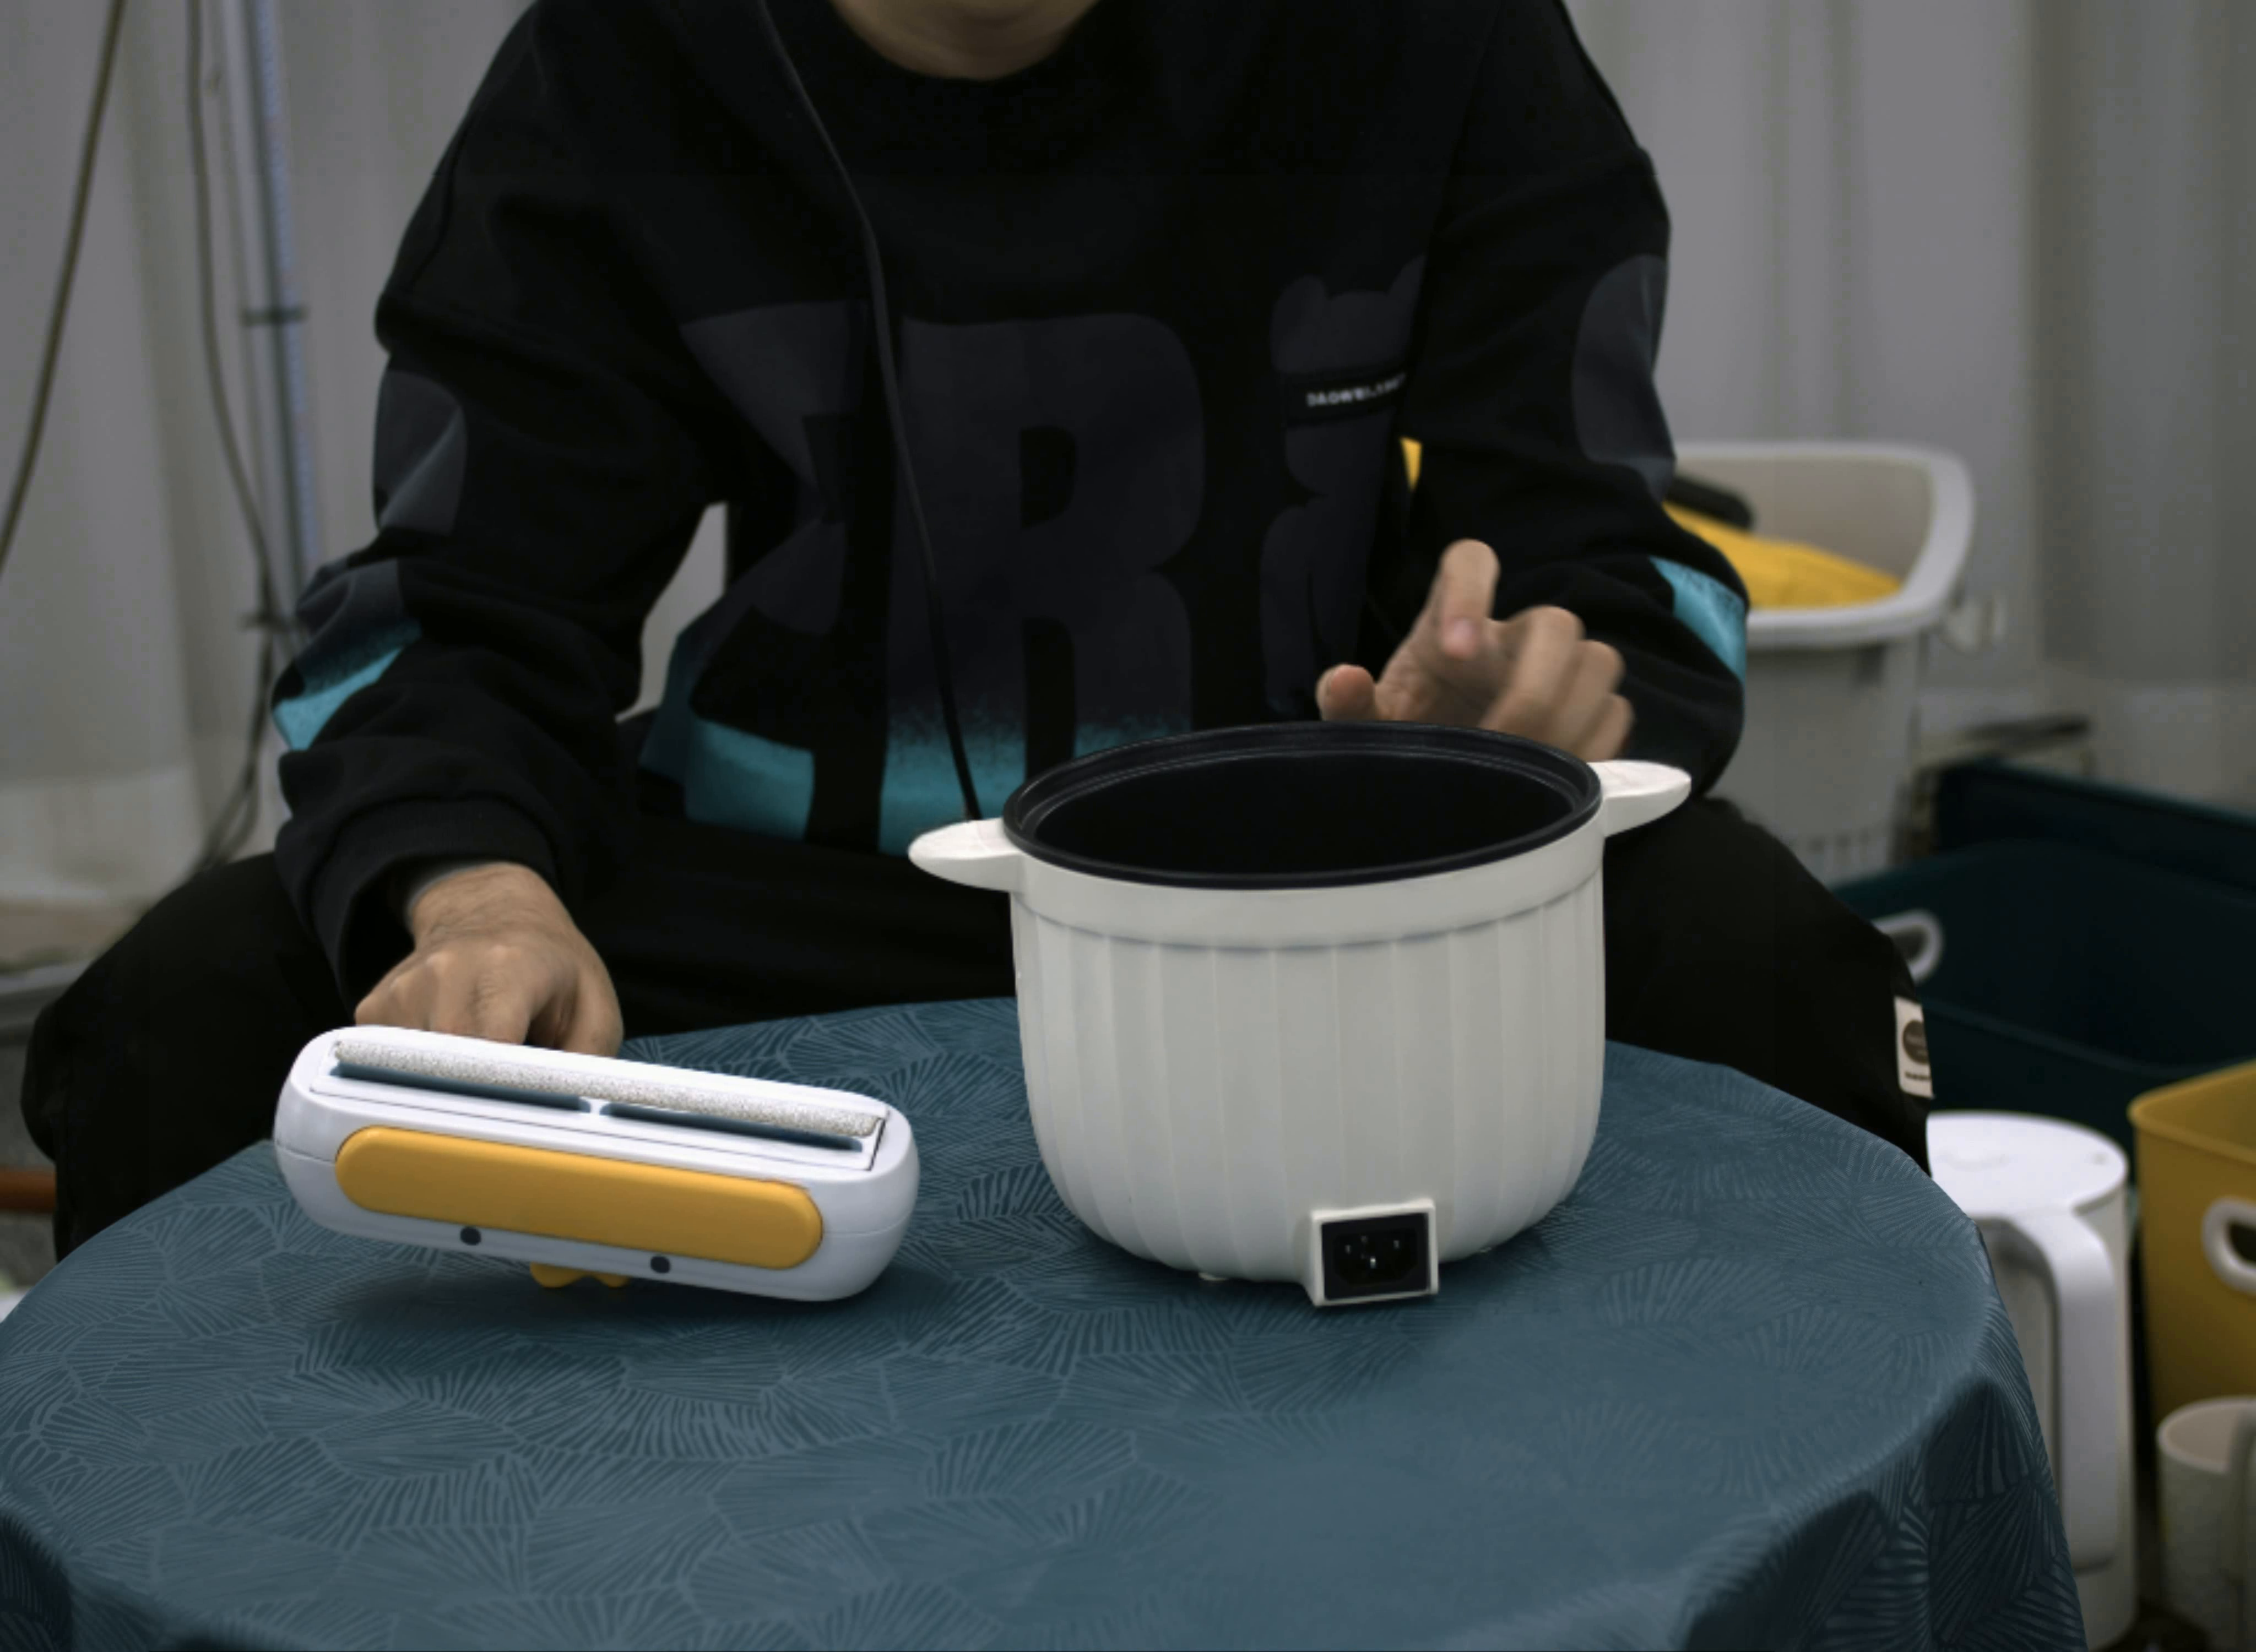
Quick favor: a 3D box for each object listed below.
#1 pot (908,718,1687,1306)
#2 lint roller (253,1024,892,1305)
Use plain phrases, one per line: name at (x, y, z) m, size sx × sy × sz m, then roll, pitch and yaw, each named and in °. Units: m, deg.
pot at (0.053, 0.053, 1.665) m, size 0.239 × 0.142 × 0.192 m, roll -4°, pitch 17°, yaw -9°
lint roller at (-0.158, 0.093, 1.696) m, size 0.192 × 0.074 × 0.193 m, roll 4°, pitch 14°, yaw 8°
